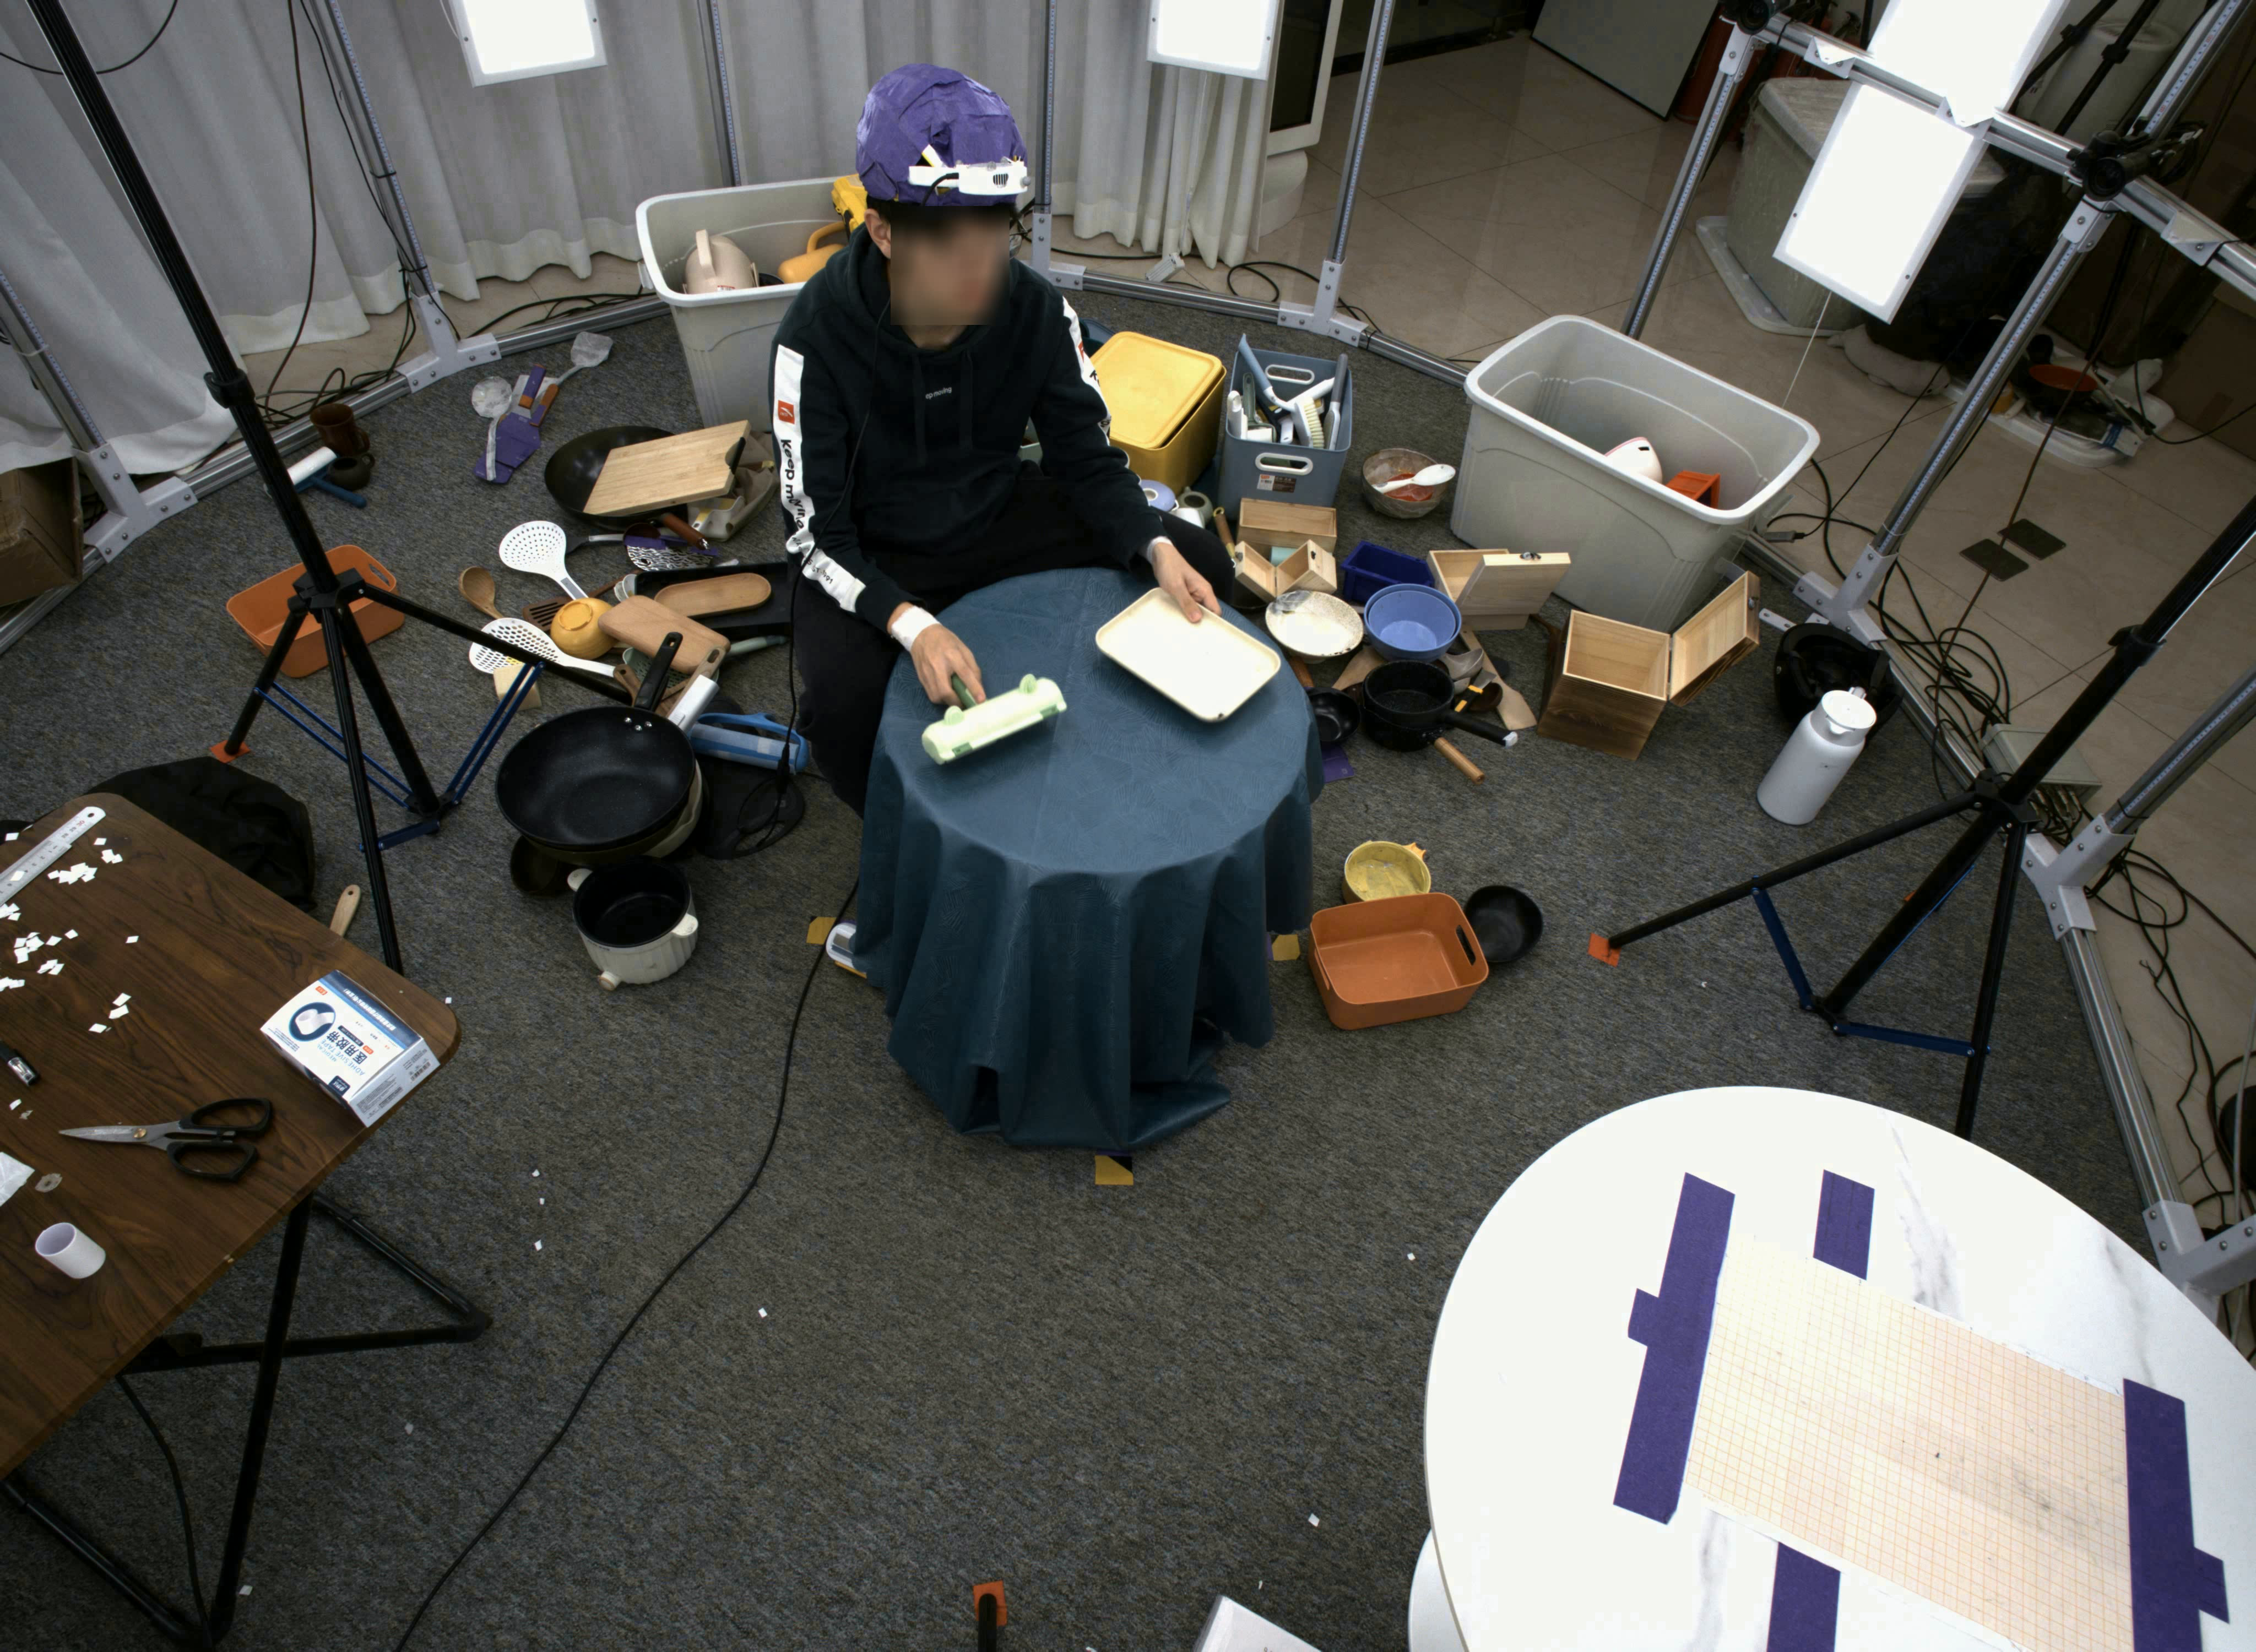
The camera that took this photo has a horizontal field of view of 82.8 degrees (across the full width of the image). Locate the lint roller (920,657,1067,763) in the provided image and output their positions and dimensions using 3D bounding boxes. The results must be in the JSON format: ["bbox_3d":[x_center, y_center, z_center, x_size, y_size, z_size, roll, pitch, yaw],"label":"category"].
[{"bbox_3d":[-0.210,-0.188,1.737,0.199,0.080,0.187,-27,59,-22],"label":"lint roller"}]

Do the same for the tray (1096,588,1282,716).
[{"bbox_3d":[0.086,-0.250,1.838,0.243,0.017,0.173,34,56,24],"label":"tray"}]
